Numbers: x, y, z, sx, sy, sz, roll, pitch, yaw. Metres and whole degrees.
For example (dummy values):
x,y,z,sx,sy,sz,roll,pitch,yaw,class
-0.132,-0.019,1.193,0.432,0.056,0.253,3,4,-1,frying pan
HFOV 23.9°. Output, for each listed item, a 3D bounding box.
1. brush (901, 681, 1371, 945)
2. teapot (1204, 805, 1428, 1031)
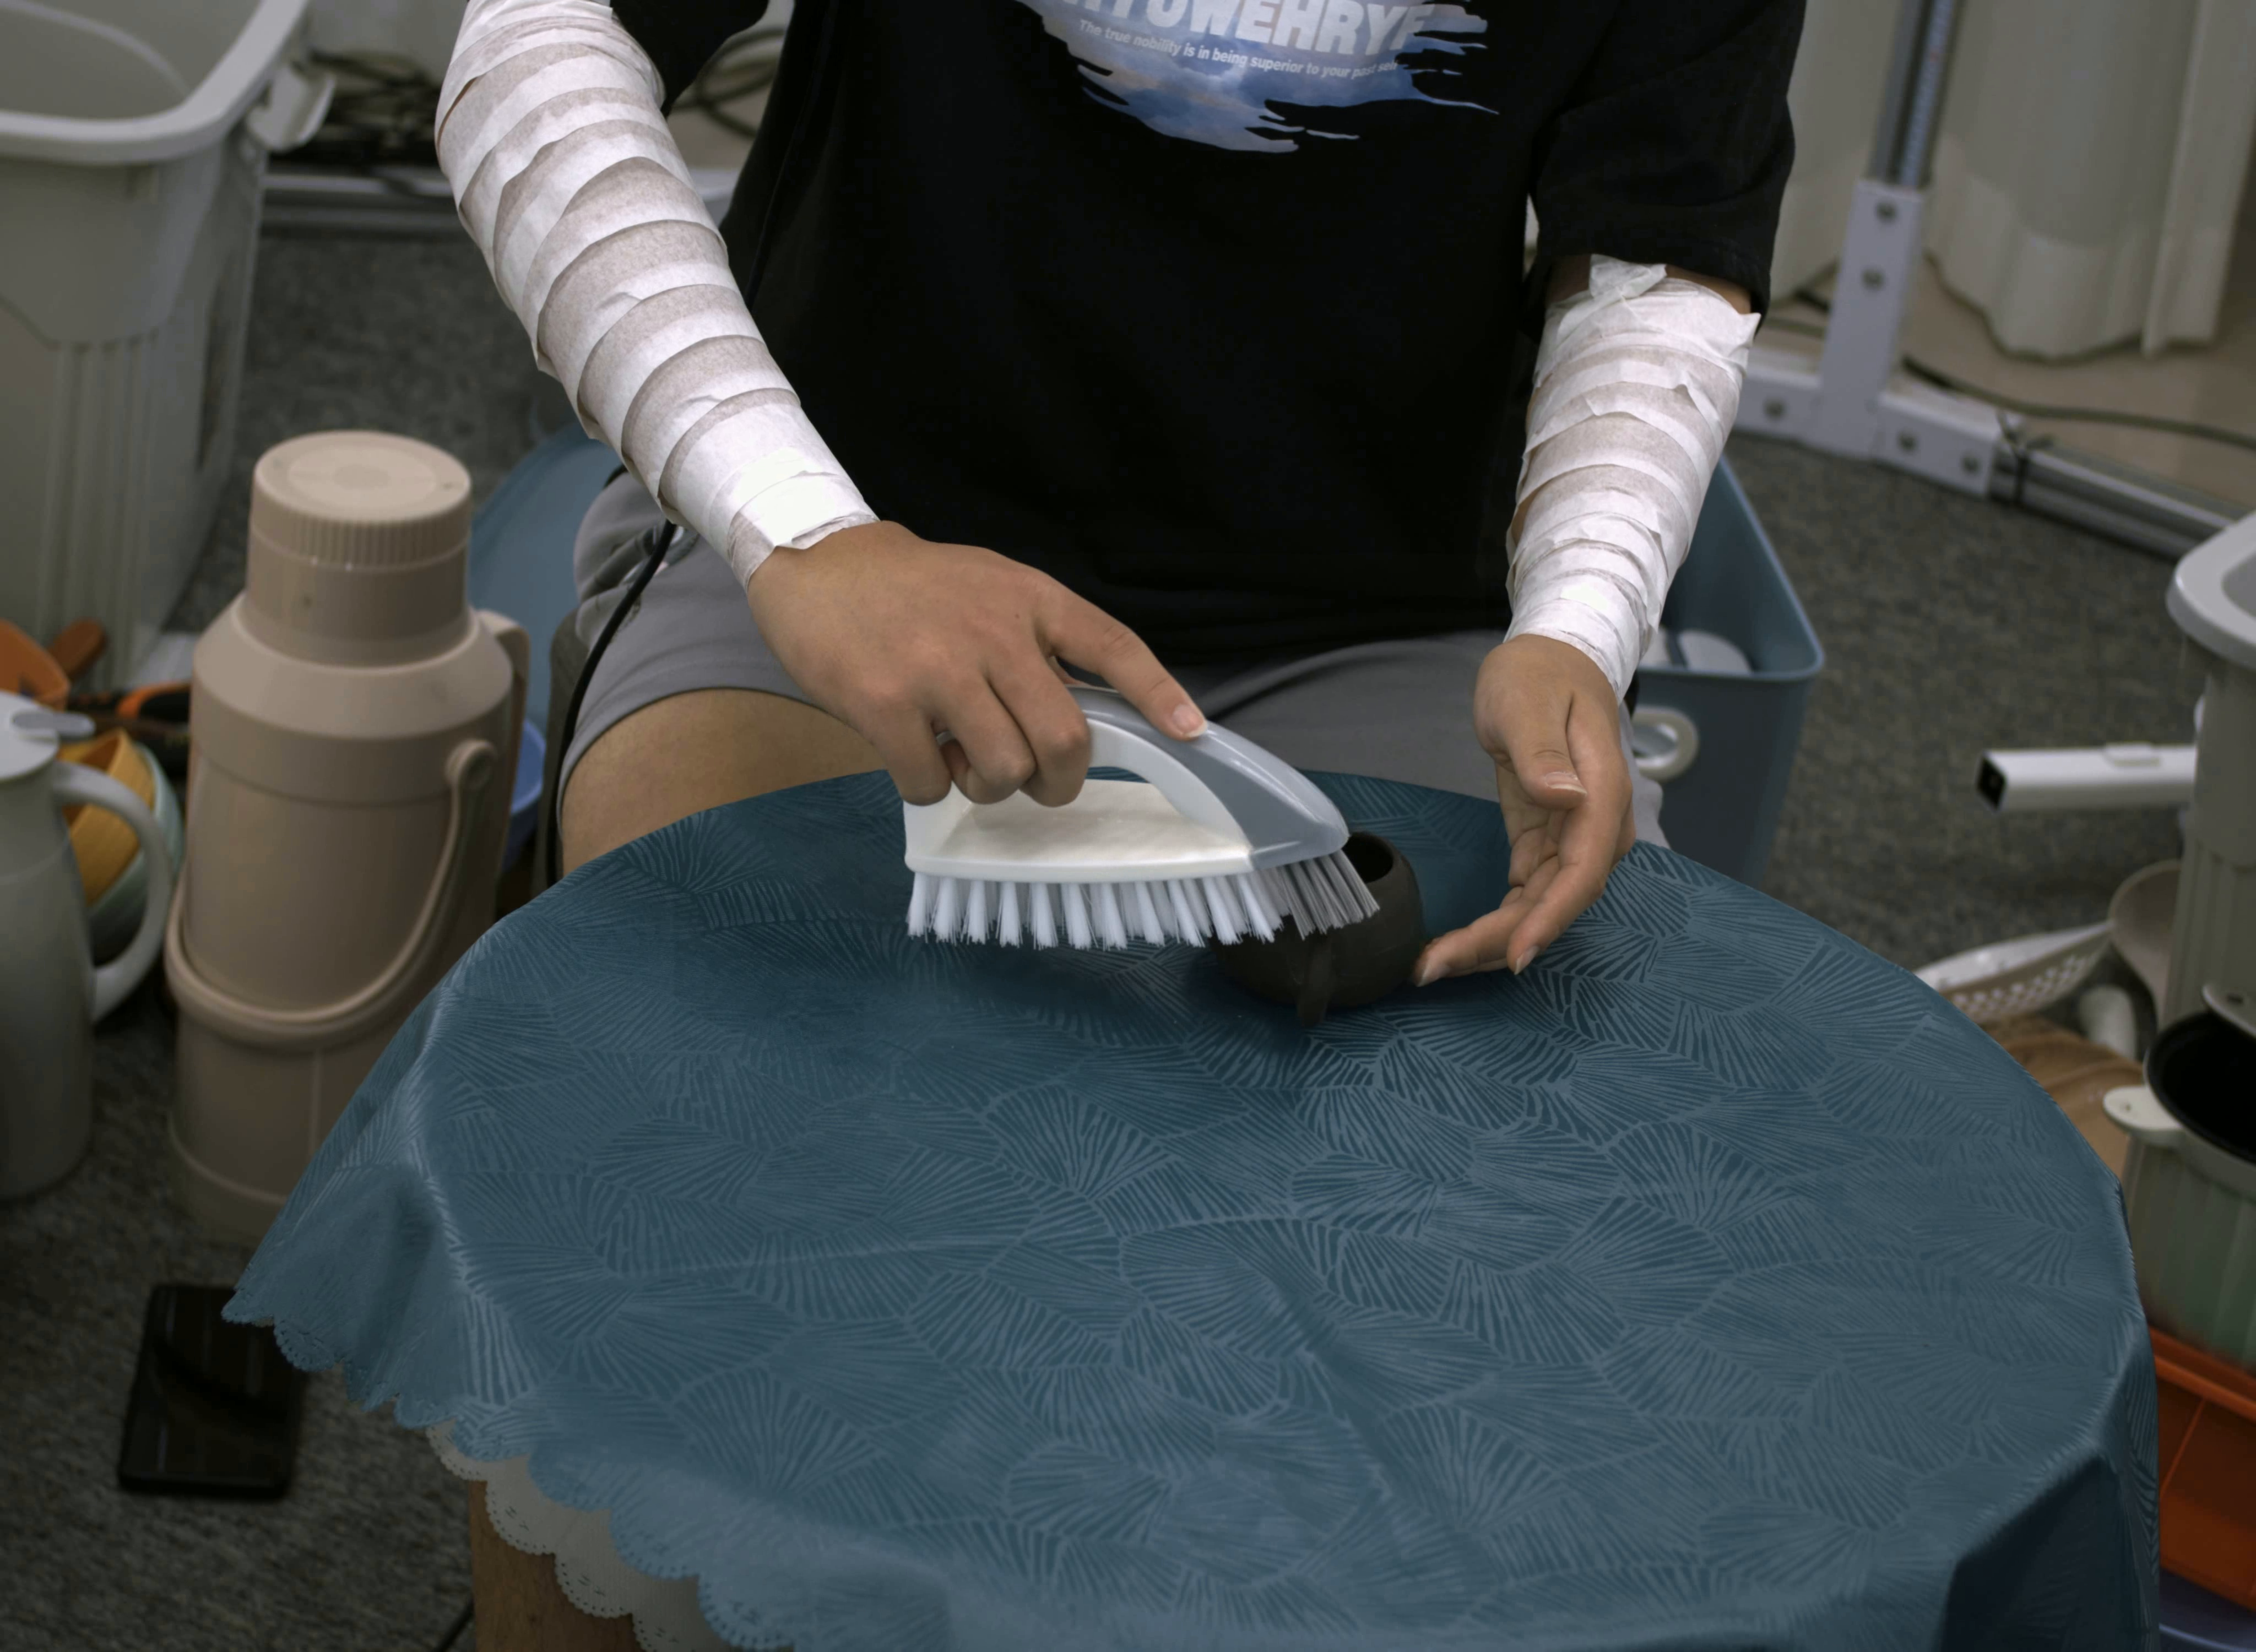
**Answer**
x,y,z,sx,sy,sz,roll,pitch,yaw,class
-0.001,-0.009,1.898,0.176,0.093,0.061,4,37,26,brush
0.068,0.037,1.936,0.083,0.053,0.114,7,25,1,teapot
